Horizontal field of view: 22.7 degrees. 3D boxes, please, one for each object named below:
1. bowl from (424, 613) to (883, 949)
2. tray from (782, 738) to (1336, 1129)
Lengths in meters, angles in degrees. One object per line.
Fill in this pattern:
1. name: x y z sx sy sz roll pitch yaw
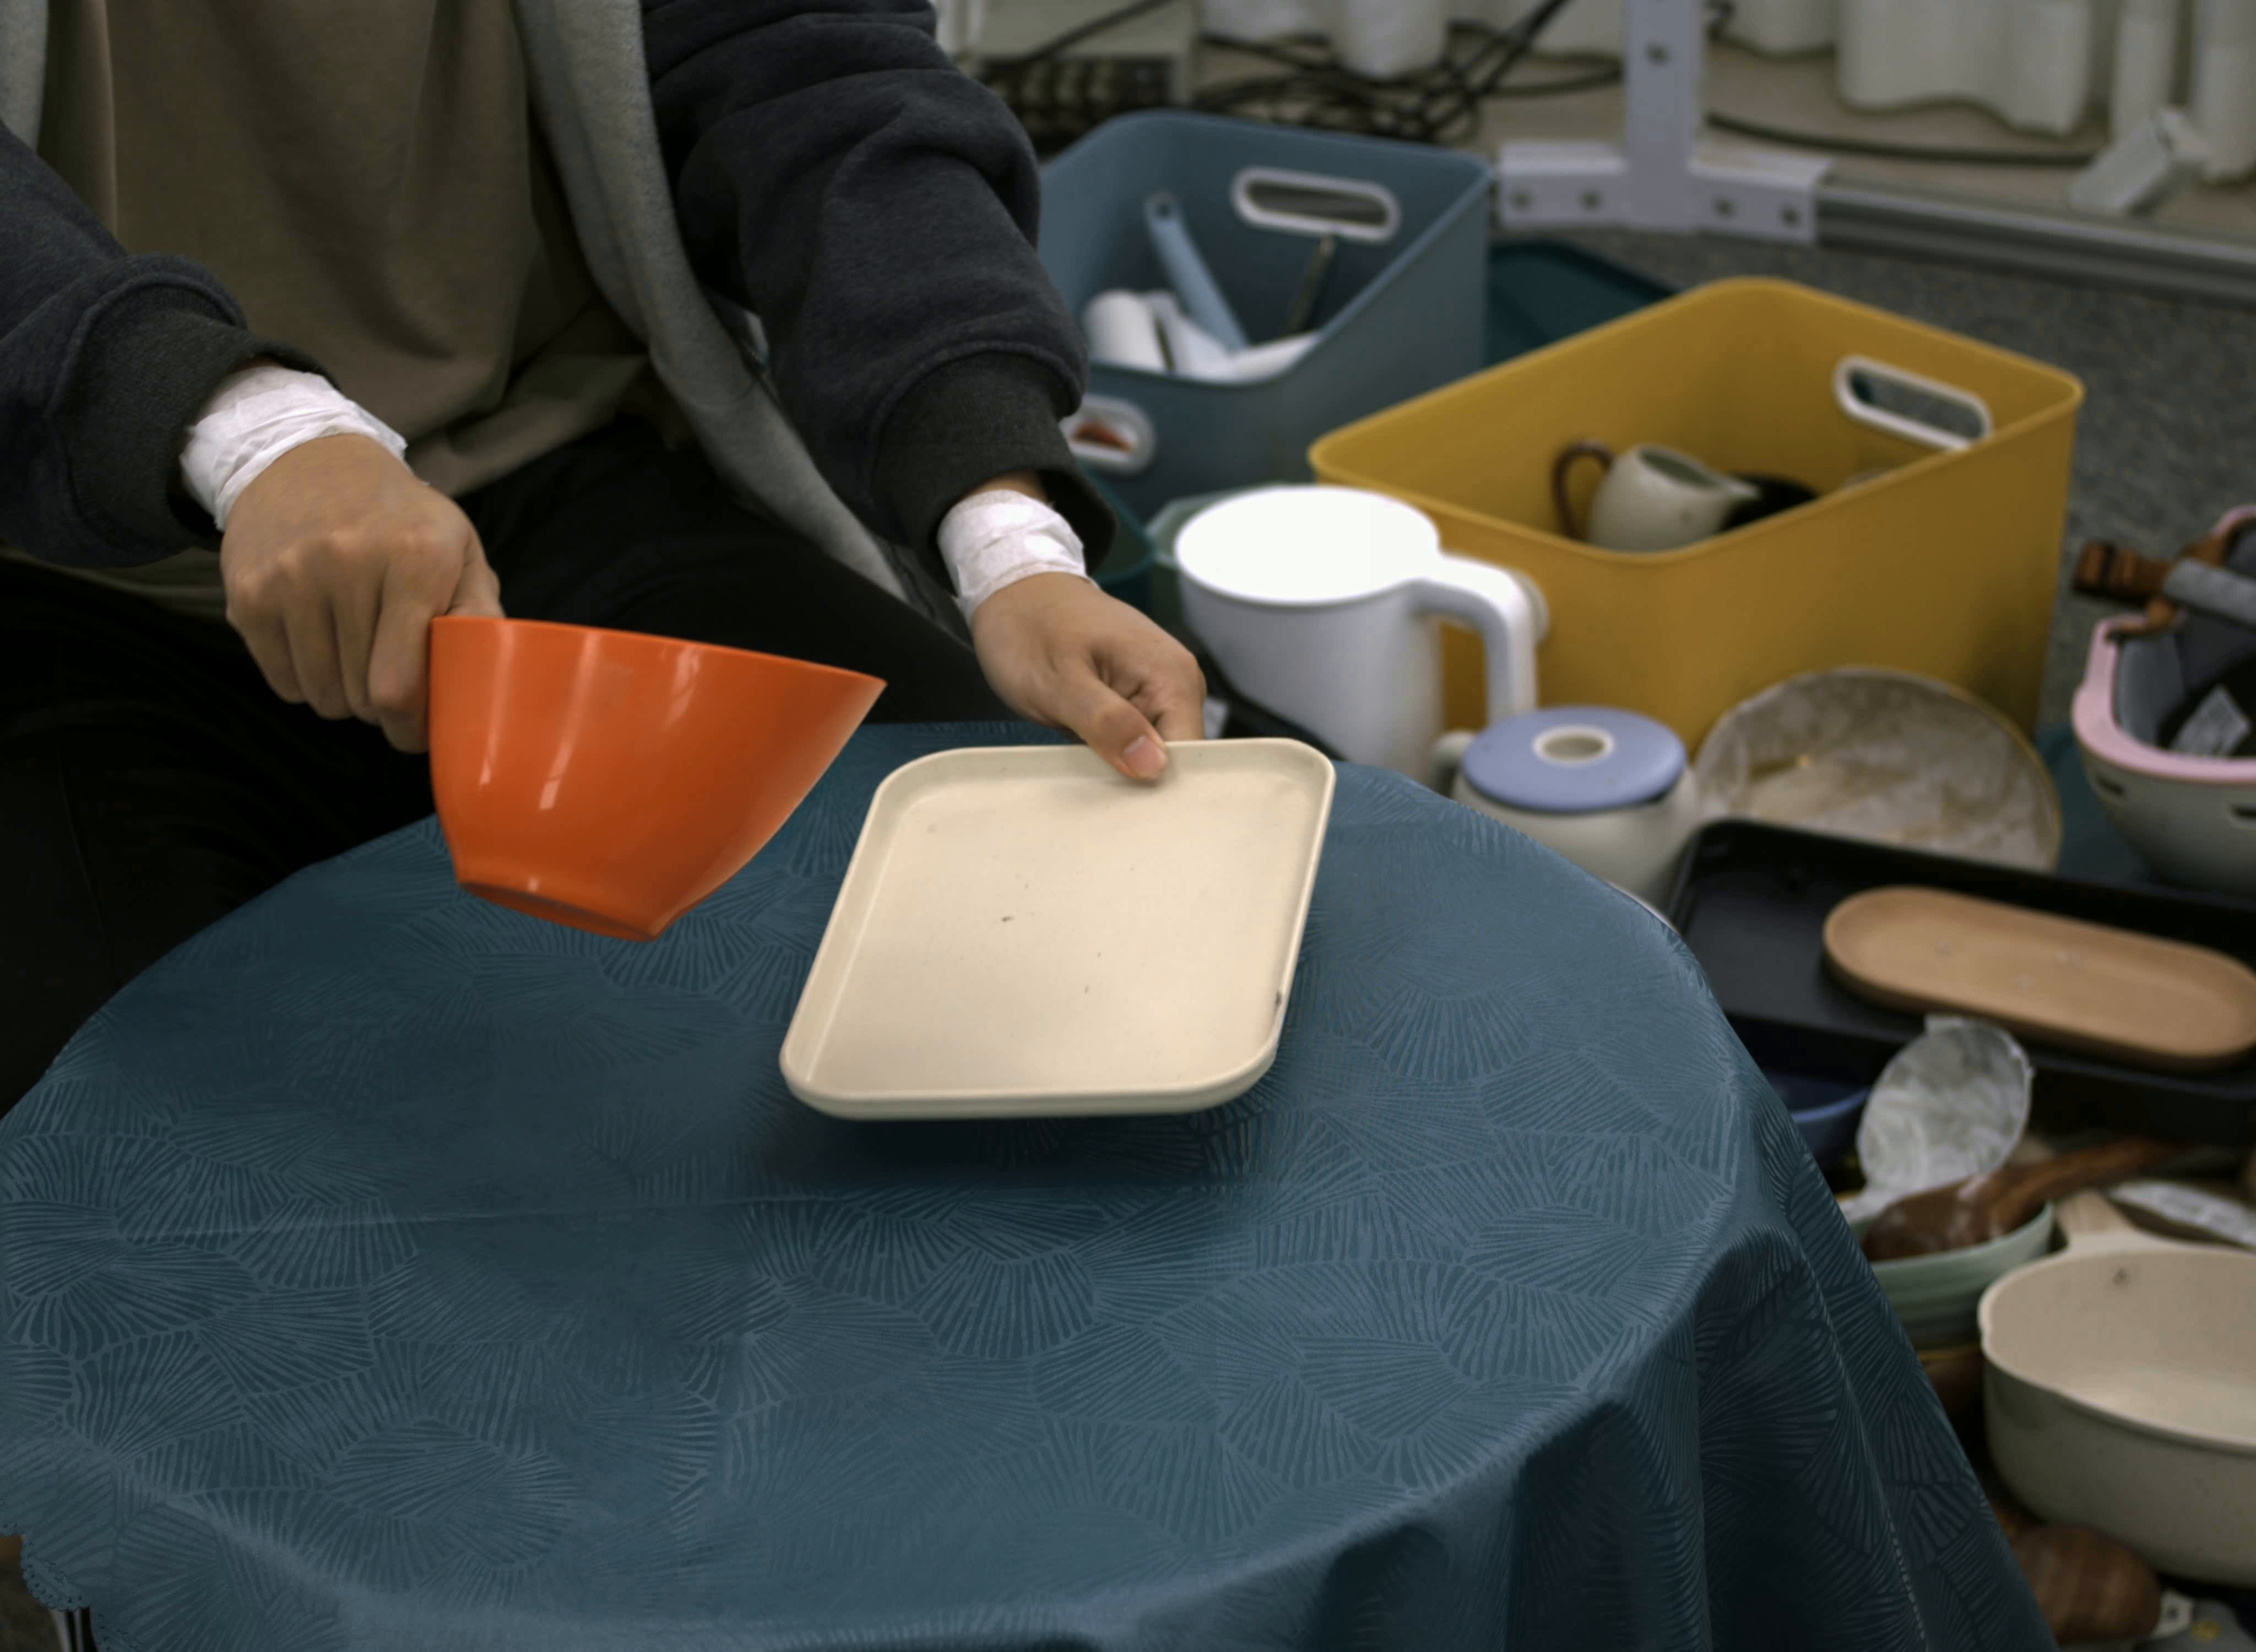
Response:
1. bowl: -0.163 -0.016 1.814 0.147 0.105 0.147 16 -8 3
2. tray: -0.020 0.037 1.949 0.170 0.017 0.244 -2 29 11
